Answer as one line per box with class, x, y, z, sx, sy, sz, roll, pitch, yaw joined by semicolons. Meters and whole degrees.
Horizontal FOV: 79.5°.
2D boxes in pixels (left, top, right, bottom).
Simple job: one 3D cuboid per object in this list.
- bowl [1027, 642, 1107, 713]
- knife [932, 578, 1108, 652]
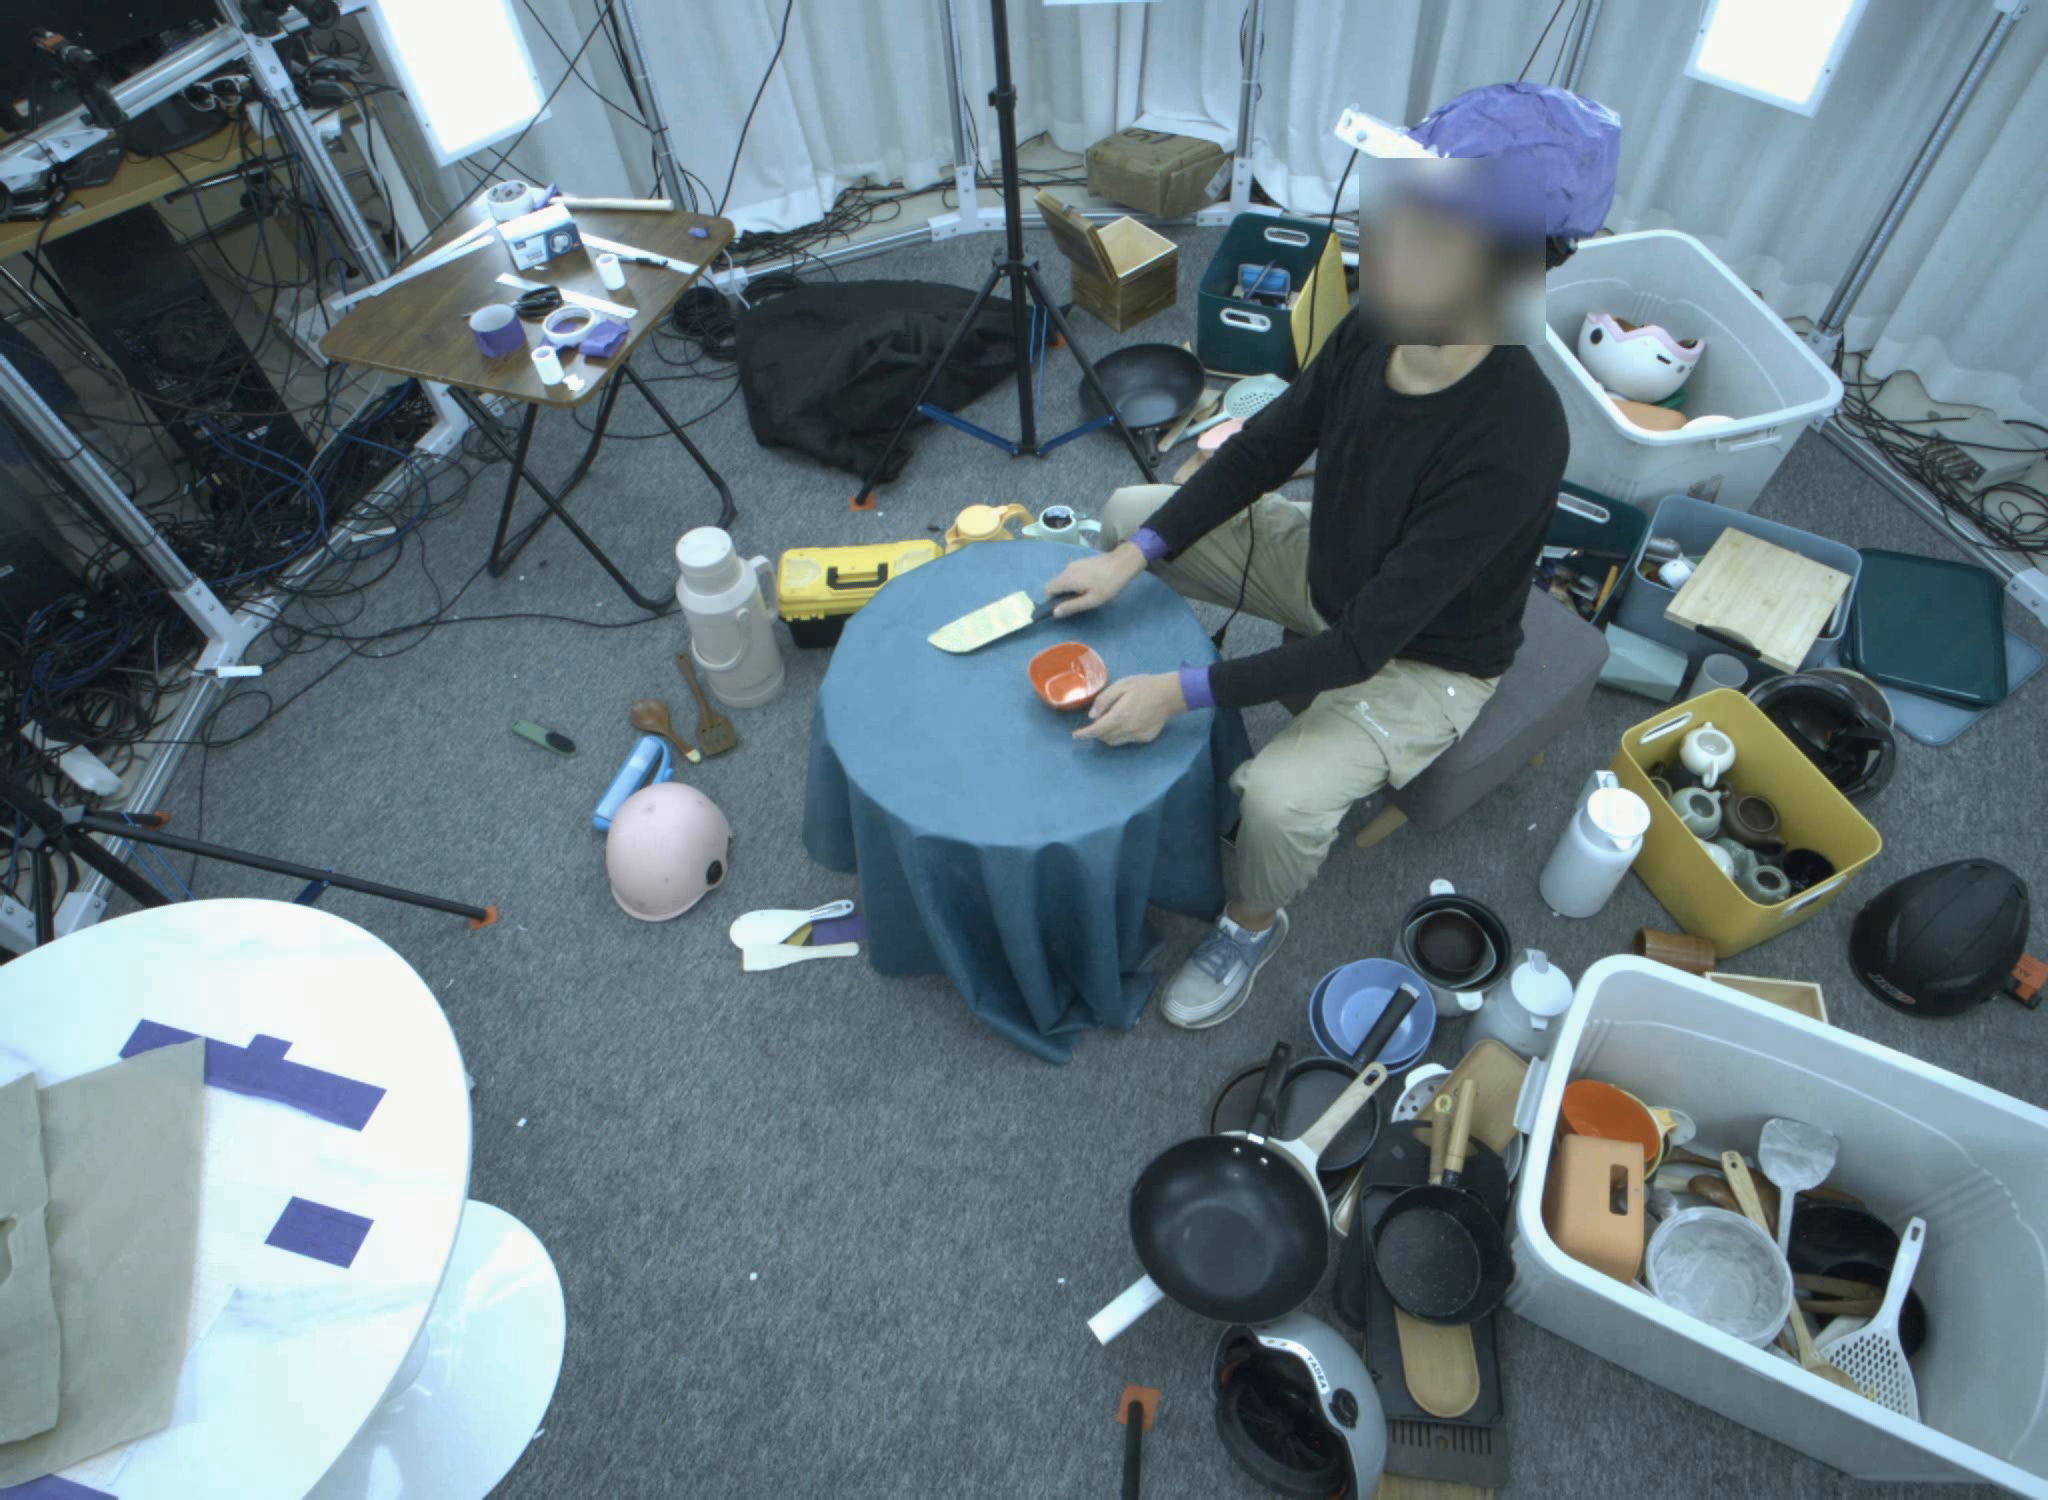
bowl;0.065;-0.100;1.820;0.118;0.052;0.117;-2;53;4
knife;-0.008;-0.216;1.917;0.291;0.027;0.079;-21;53;-8
